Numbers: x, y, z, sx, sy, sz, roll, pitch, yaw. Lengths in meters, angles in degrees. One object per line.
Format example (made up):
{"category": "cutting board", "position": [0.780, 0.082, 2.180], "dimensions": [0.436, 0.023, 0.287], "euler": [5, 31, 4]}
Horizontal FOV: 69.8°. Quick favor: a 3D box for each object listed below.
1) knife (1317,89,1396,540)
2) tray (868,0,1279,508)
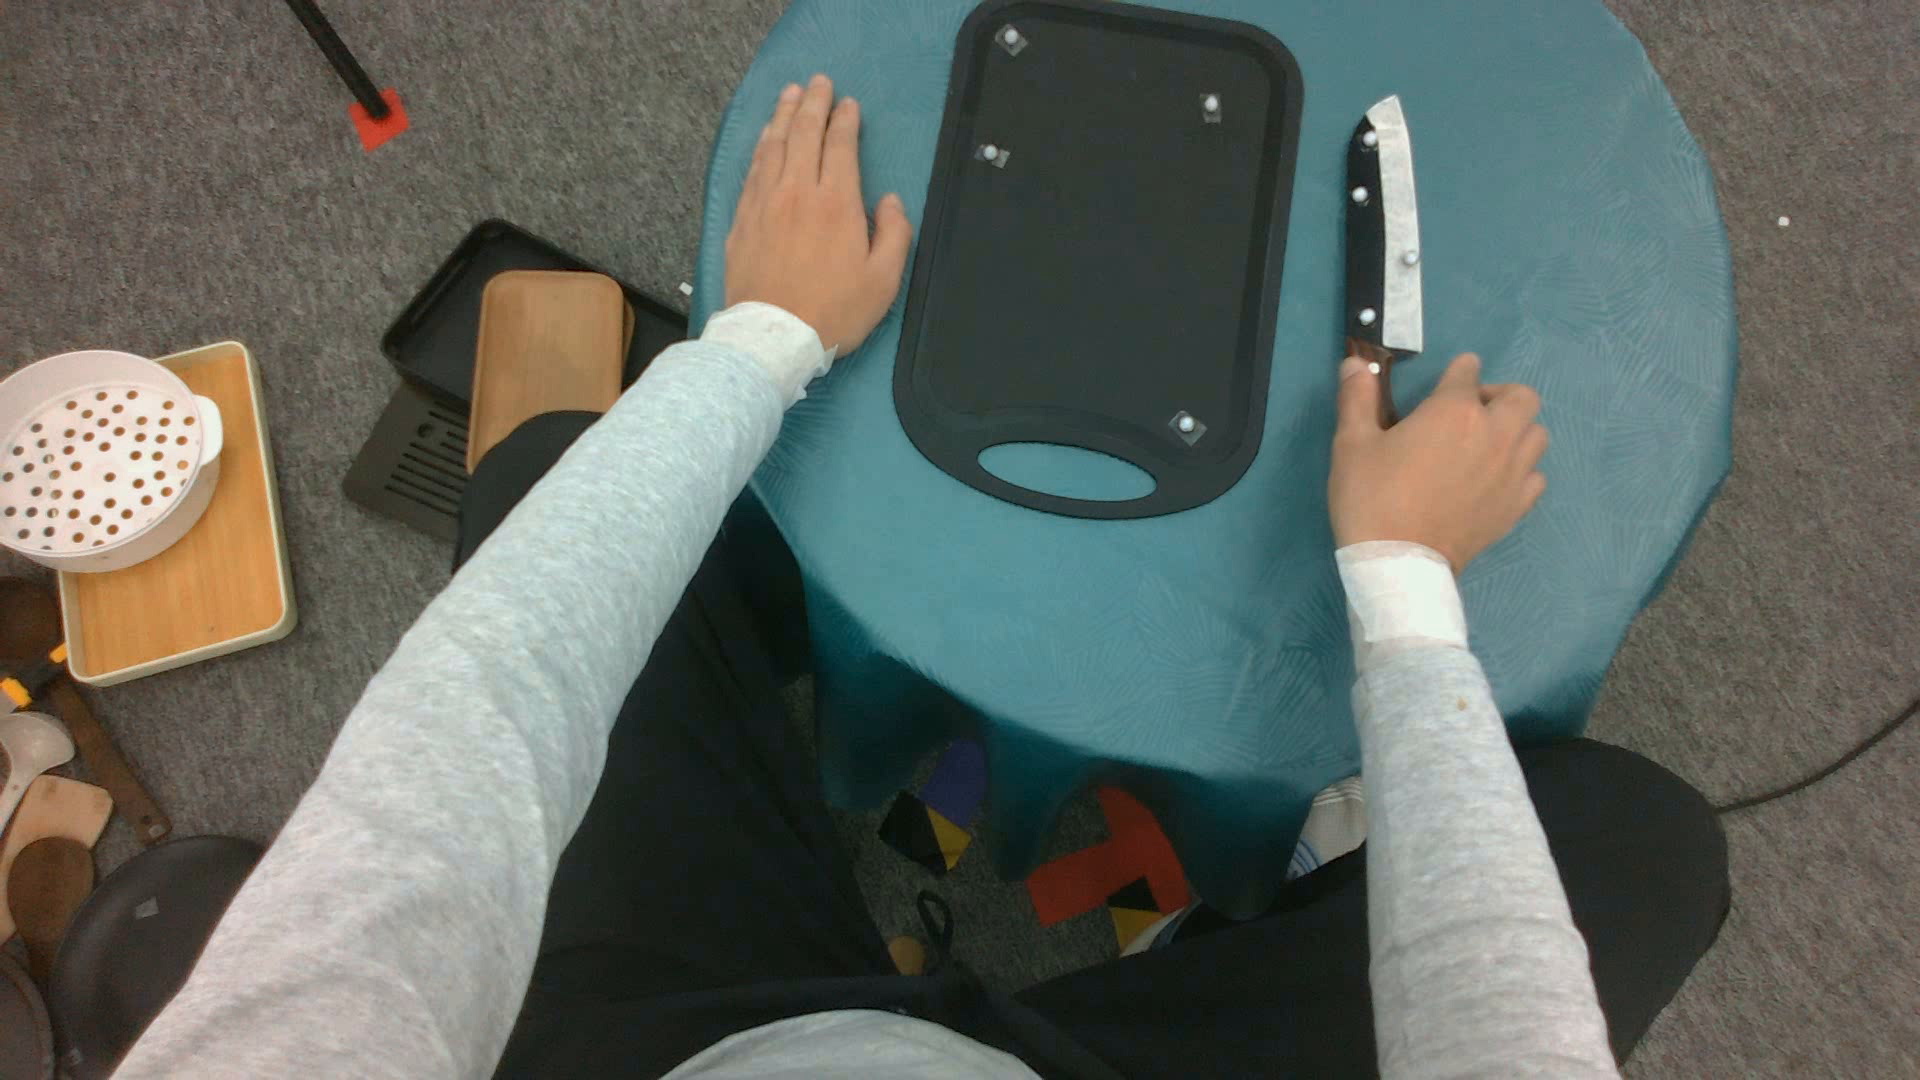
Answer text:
{"category": "knife", "position": [0.225, -0.136, 0.785], "dimensions": [0.050, 0.020, 0.290], "euler": [9, 71, -7]}
{"category": "tray", "position": [0.069, -0.175, 0.792], "dimensions": [0.211, 0.010, 0.326], "euler": [10, 74, 0]}
